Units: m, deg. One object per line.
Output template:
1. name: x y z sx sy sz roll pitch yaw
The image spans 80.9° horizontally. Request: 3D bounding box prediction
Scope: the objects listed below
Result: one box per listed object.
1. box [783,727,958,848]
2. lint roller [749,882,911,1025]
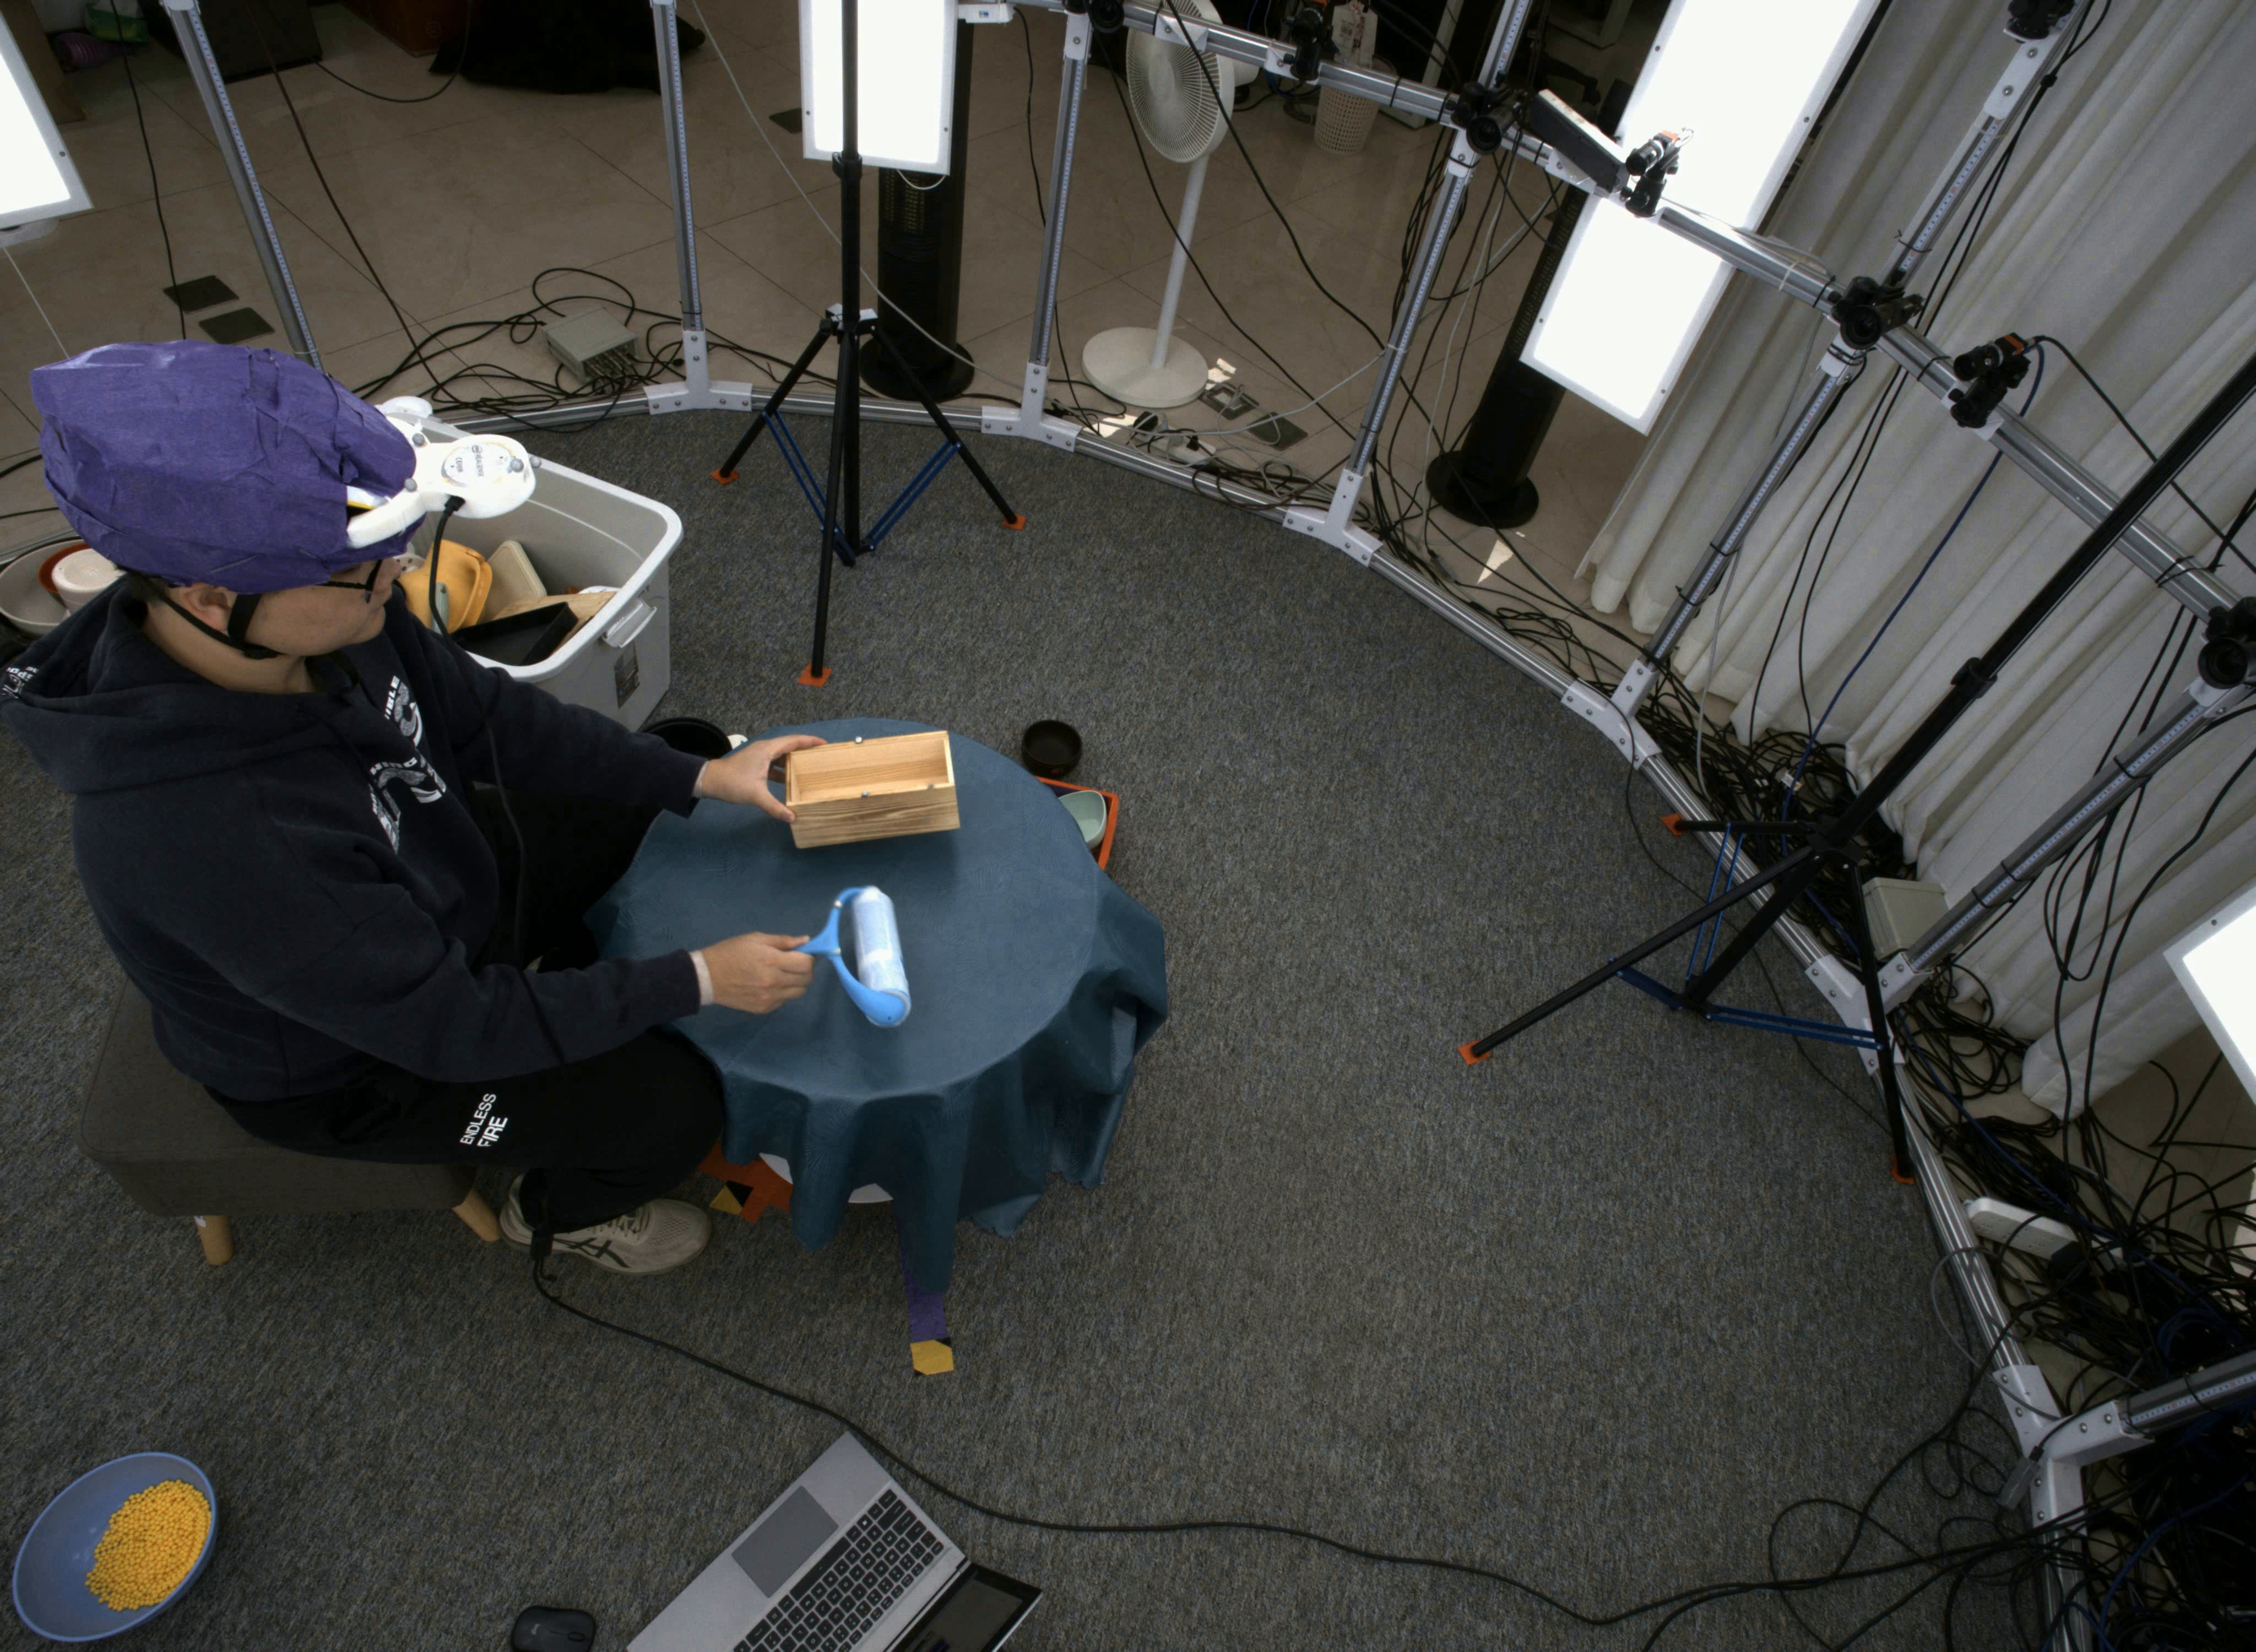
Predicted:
1. box: -0.330 -0.051 1.668 0.211 0.083 0.104 -8 48 -10
2. lint roller: -0.351 0.153 1.505 0.181 0.070 0.221 -7 39 -18
